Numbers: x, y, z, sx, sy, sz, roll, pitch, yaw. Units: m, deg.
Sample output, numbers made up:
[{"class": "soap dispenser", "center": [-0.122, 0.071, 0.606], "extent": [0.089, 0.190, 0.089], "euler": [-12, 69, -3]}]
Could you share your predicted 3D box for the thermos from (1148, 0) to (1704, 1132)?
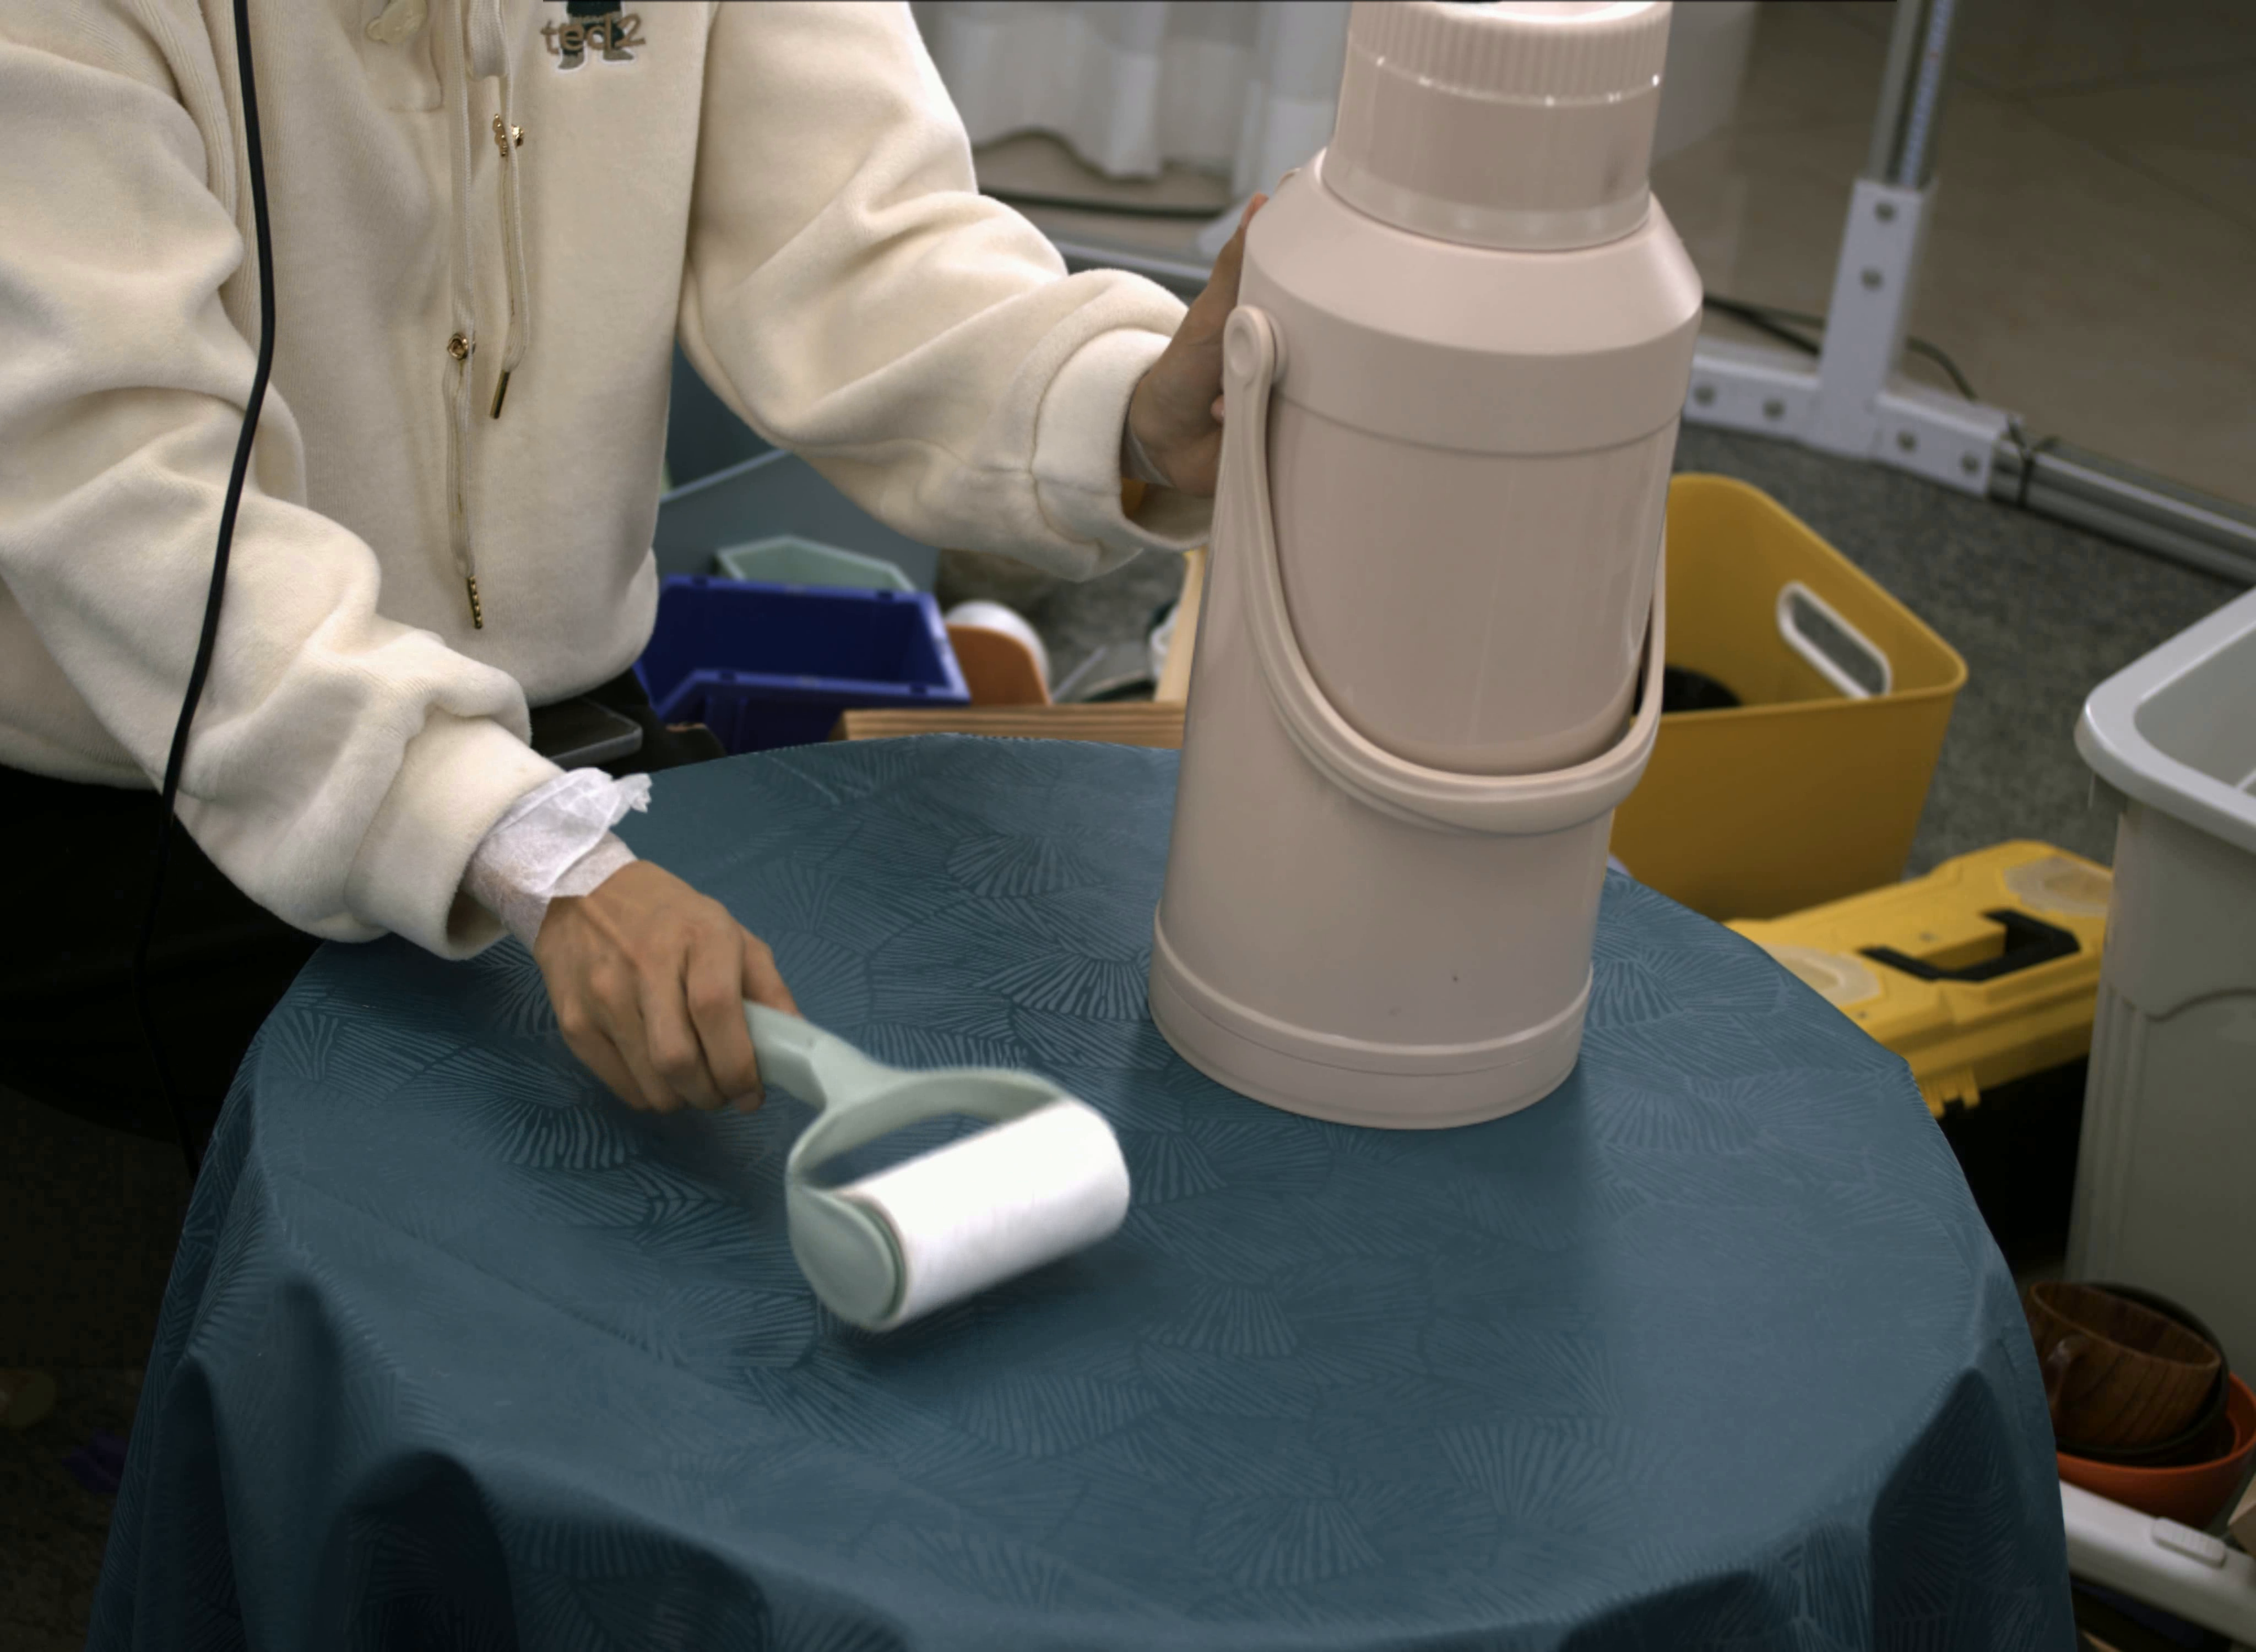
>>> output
[{"class": "thermos", "center": [0.101, -0.111, 1.850], "extent": [0.174, 0.405, 0.209], "euler": [-8, 30, -26]}]

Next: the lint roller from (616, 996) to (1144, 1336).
[{"class": "lint roller", "center": [-0.097, 0.094, 1.760], "extent": [0.116, 0.048, 0.199], "euler": [-21, 42, -41]}]
